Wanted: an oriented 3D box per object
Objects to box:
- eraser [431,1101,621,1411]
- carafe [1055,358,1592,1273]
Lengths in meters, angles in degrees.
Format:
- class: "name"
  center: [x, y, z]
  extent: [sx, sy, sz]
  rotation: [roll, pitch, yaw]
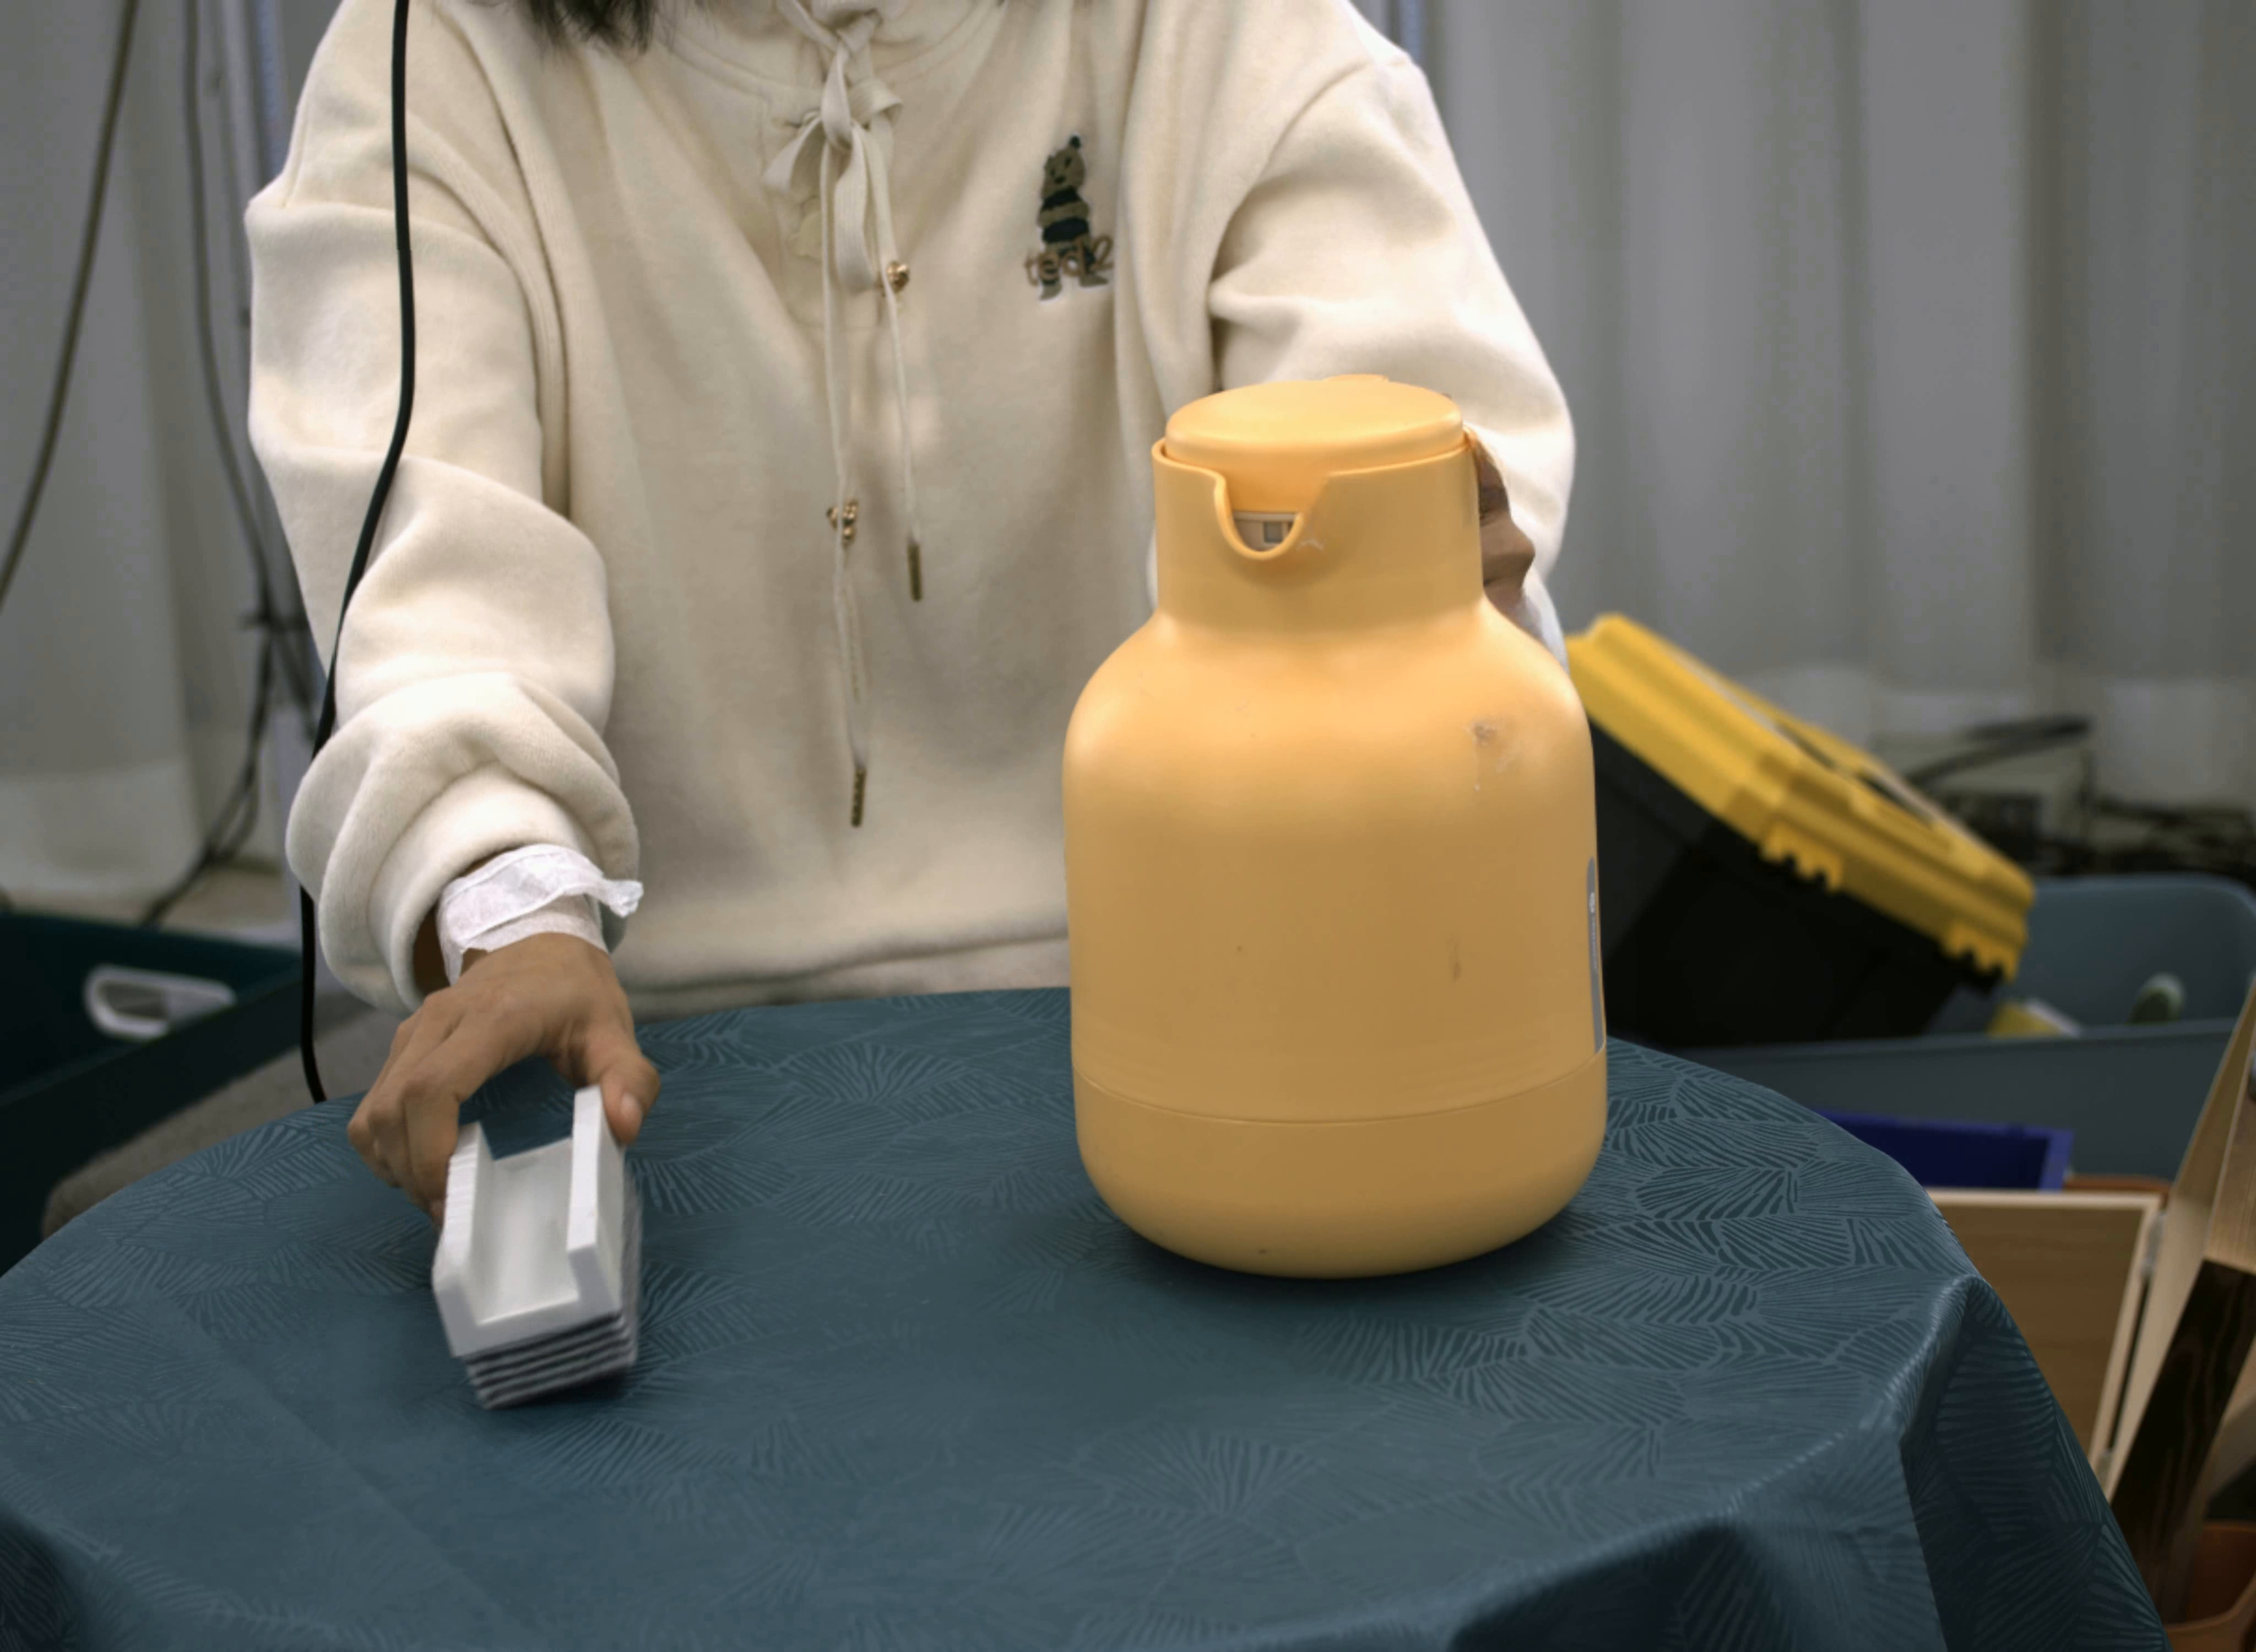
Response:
- class: "eraser"
  center: [-0.175, 0.125, 1.610]
  extent: [0.049, 0.046, 0.135]
  rotation: [-17, 16, -2]
- class: "carafe"
  center: [0.065, -0.011, 1.663]
  extent: [0.163, 0.259, 0.203]
  rotation: [5, 17, 16]
